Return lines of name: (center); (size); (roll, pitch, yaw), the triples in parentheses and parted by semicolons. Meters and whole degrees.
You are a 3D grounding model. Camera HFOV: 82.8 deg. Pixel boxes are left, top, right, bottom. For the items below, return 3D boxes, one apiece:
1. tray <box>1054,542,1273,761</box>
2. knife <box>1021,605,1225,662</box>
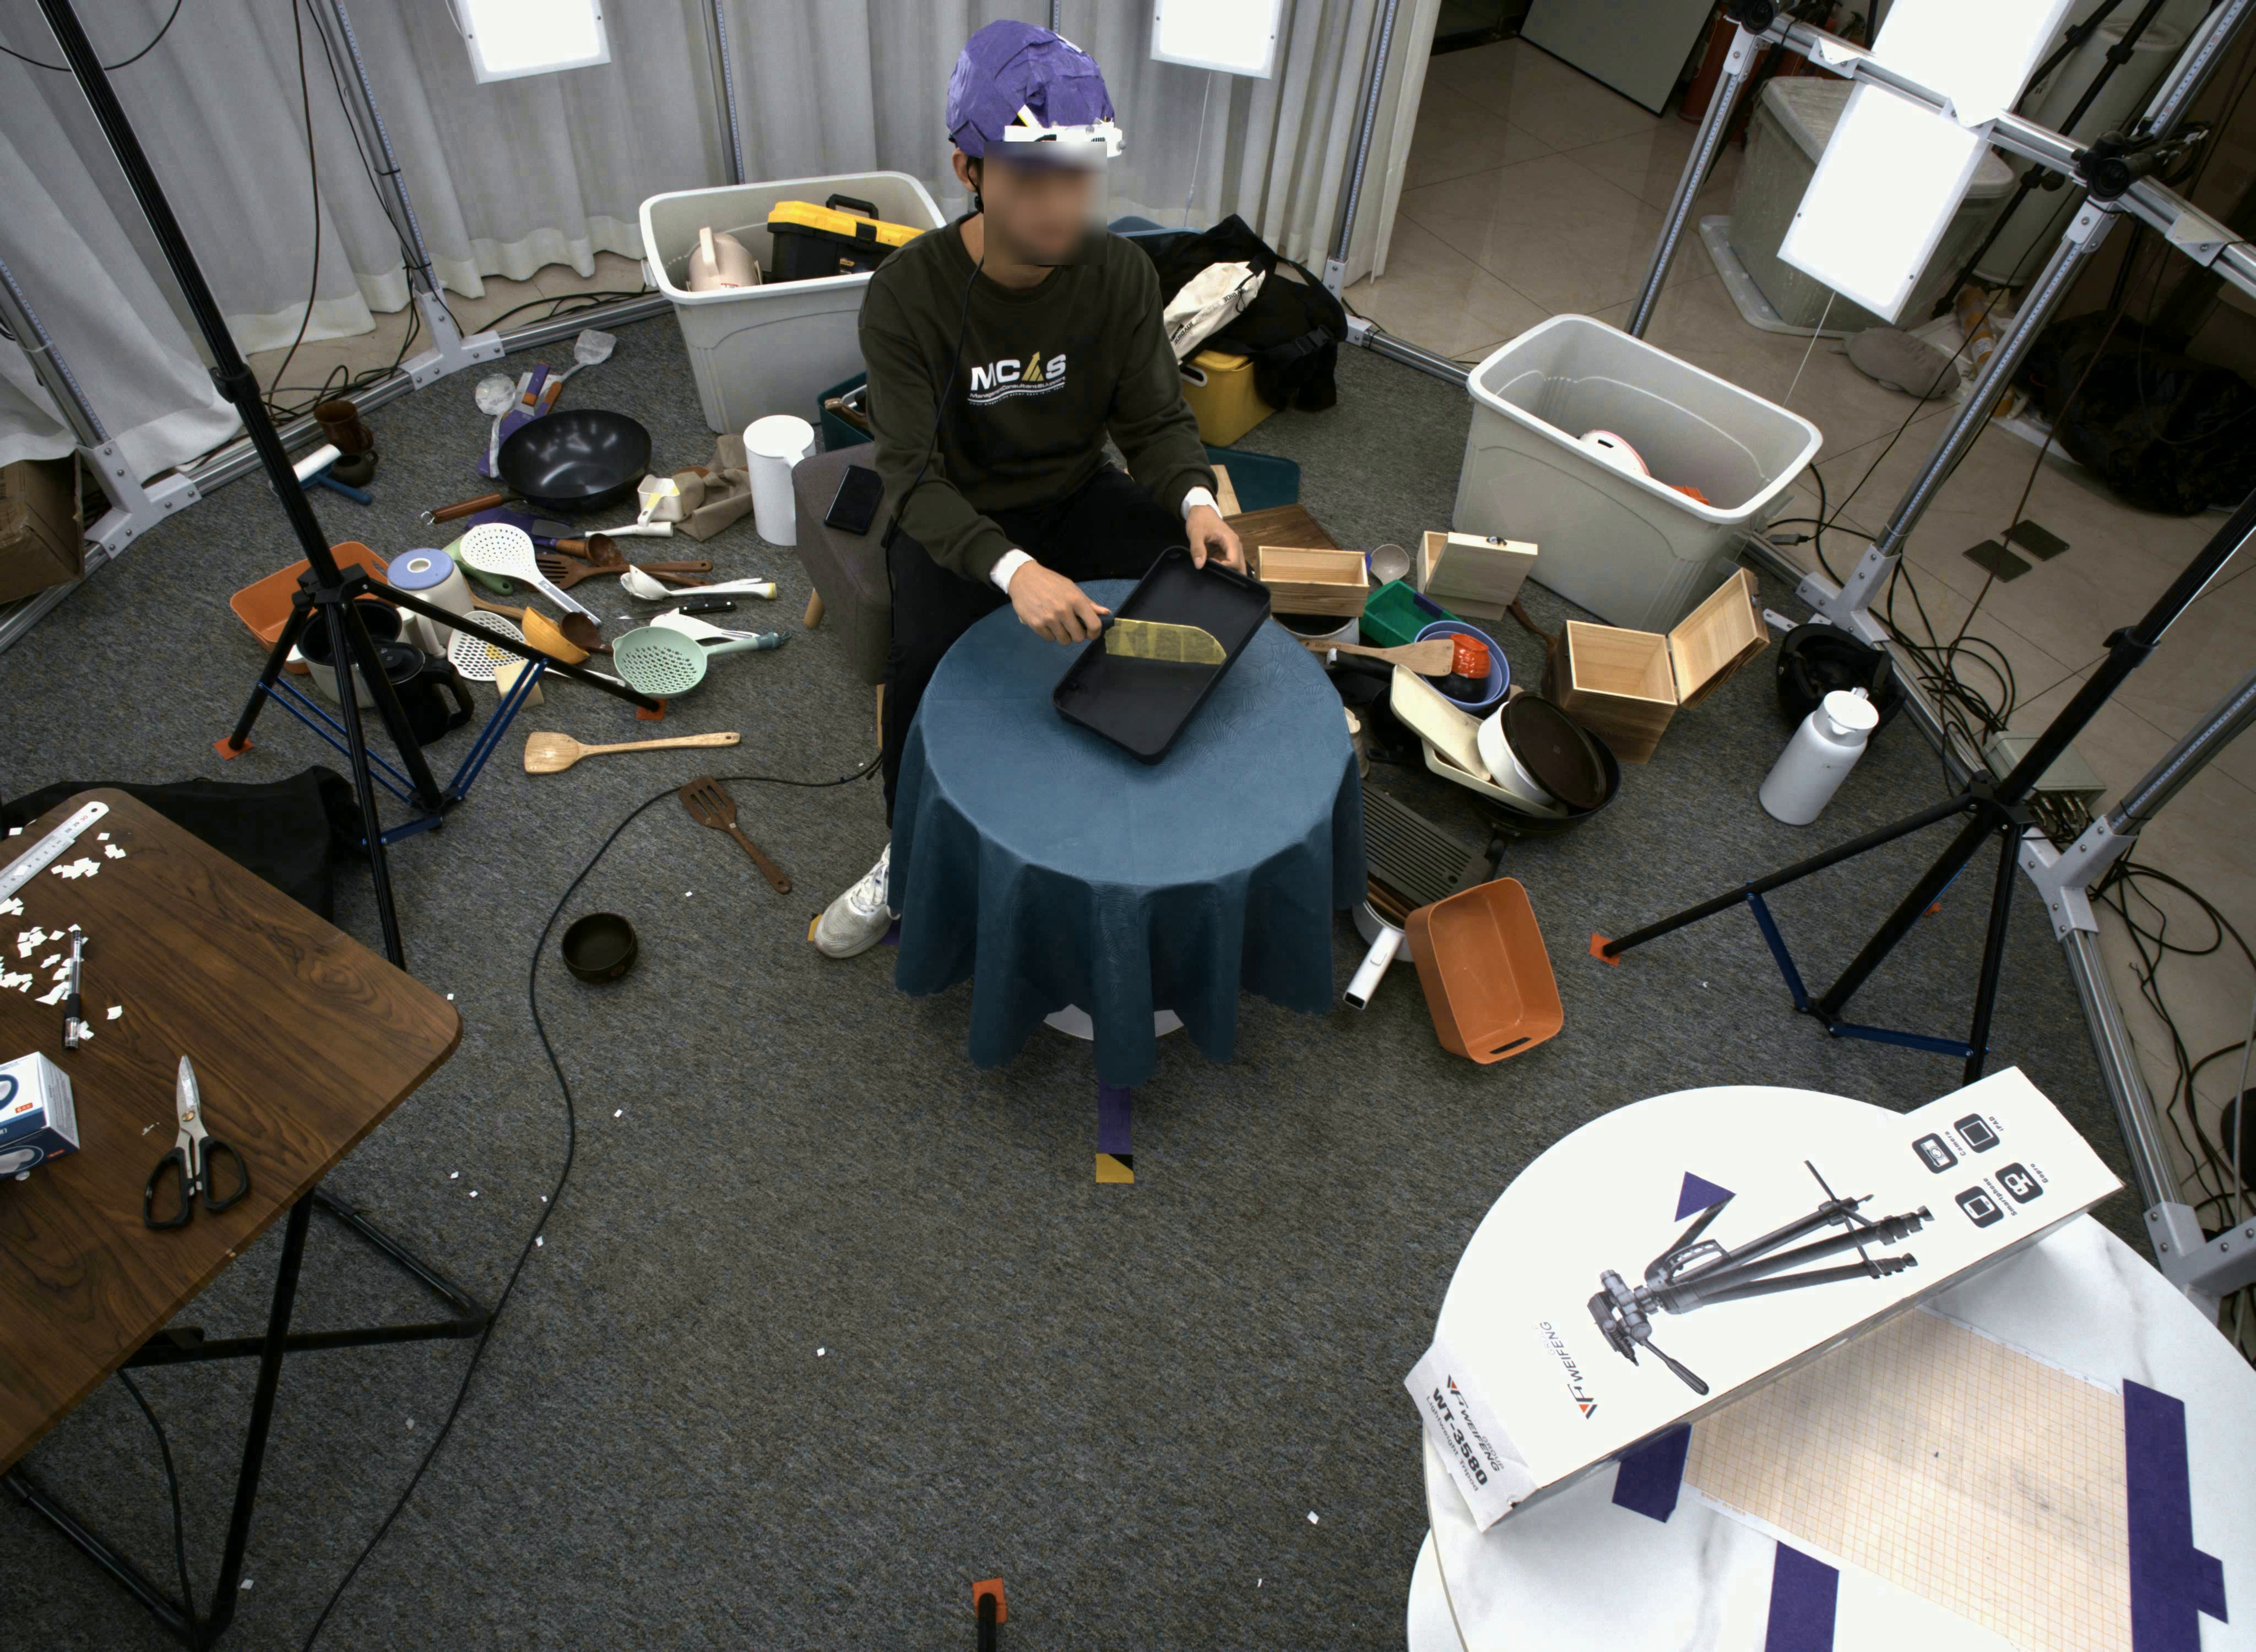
tray: (0.053, -0.250, 1.806); (0.186, 0.036, 0.321); (27, 70, 22)
knife: (-0.007, -0.266, 1.782); (0.290, 0.079, 0.028); (11, 52, 7)
